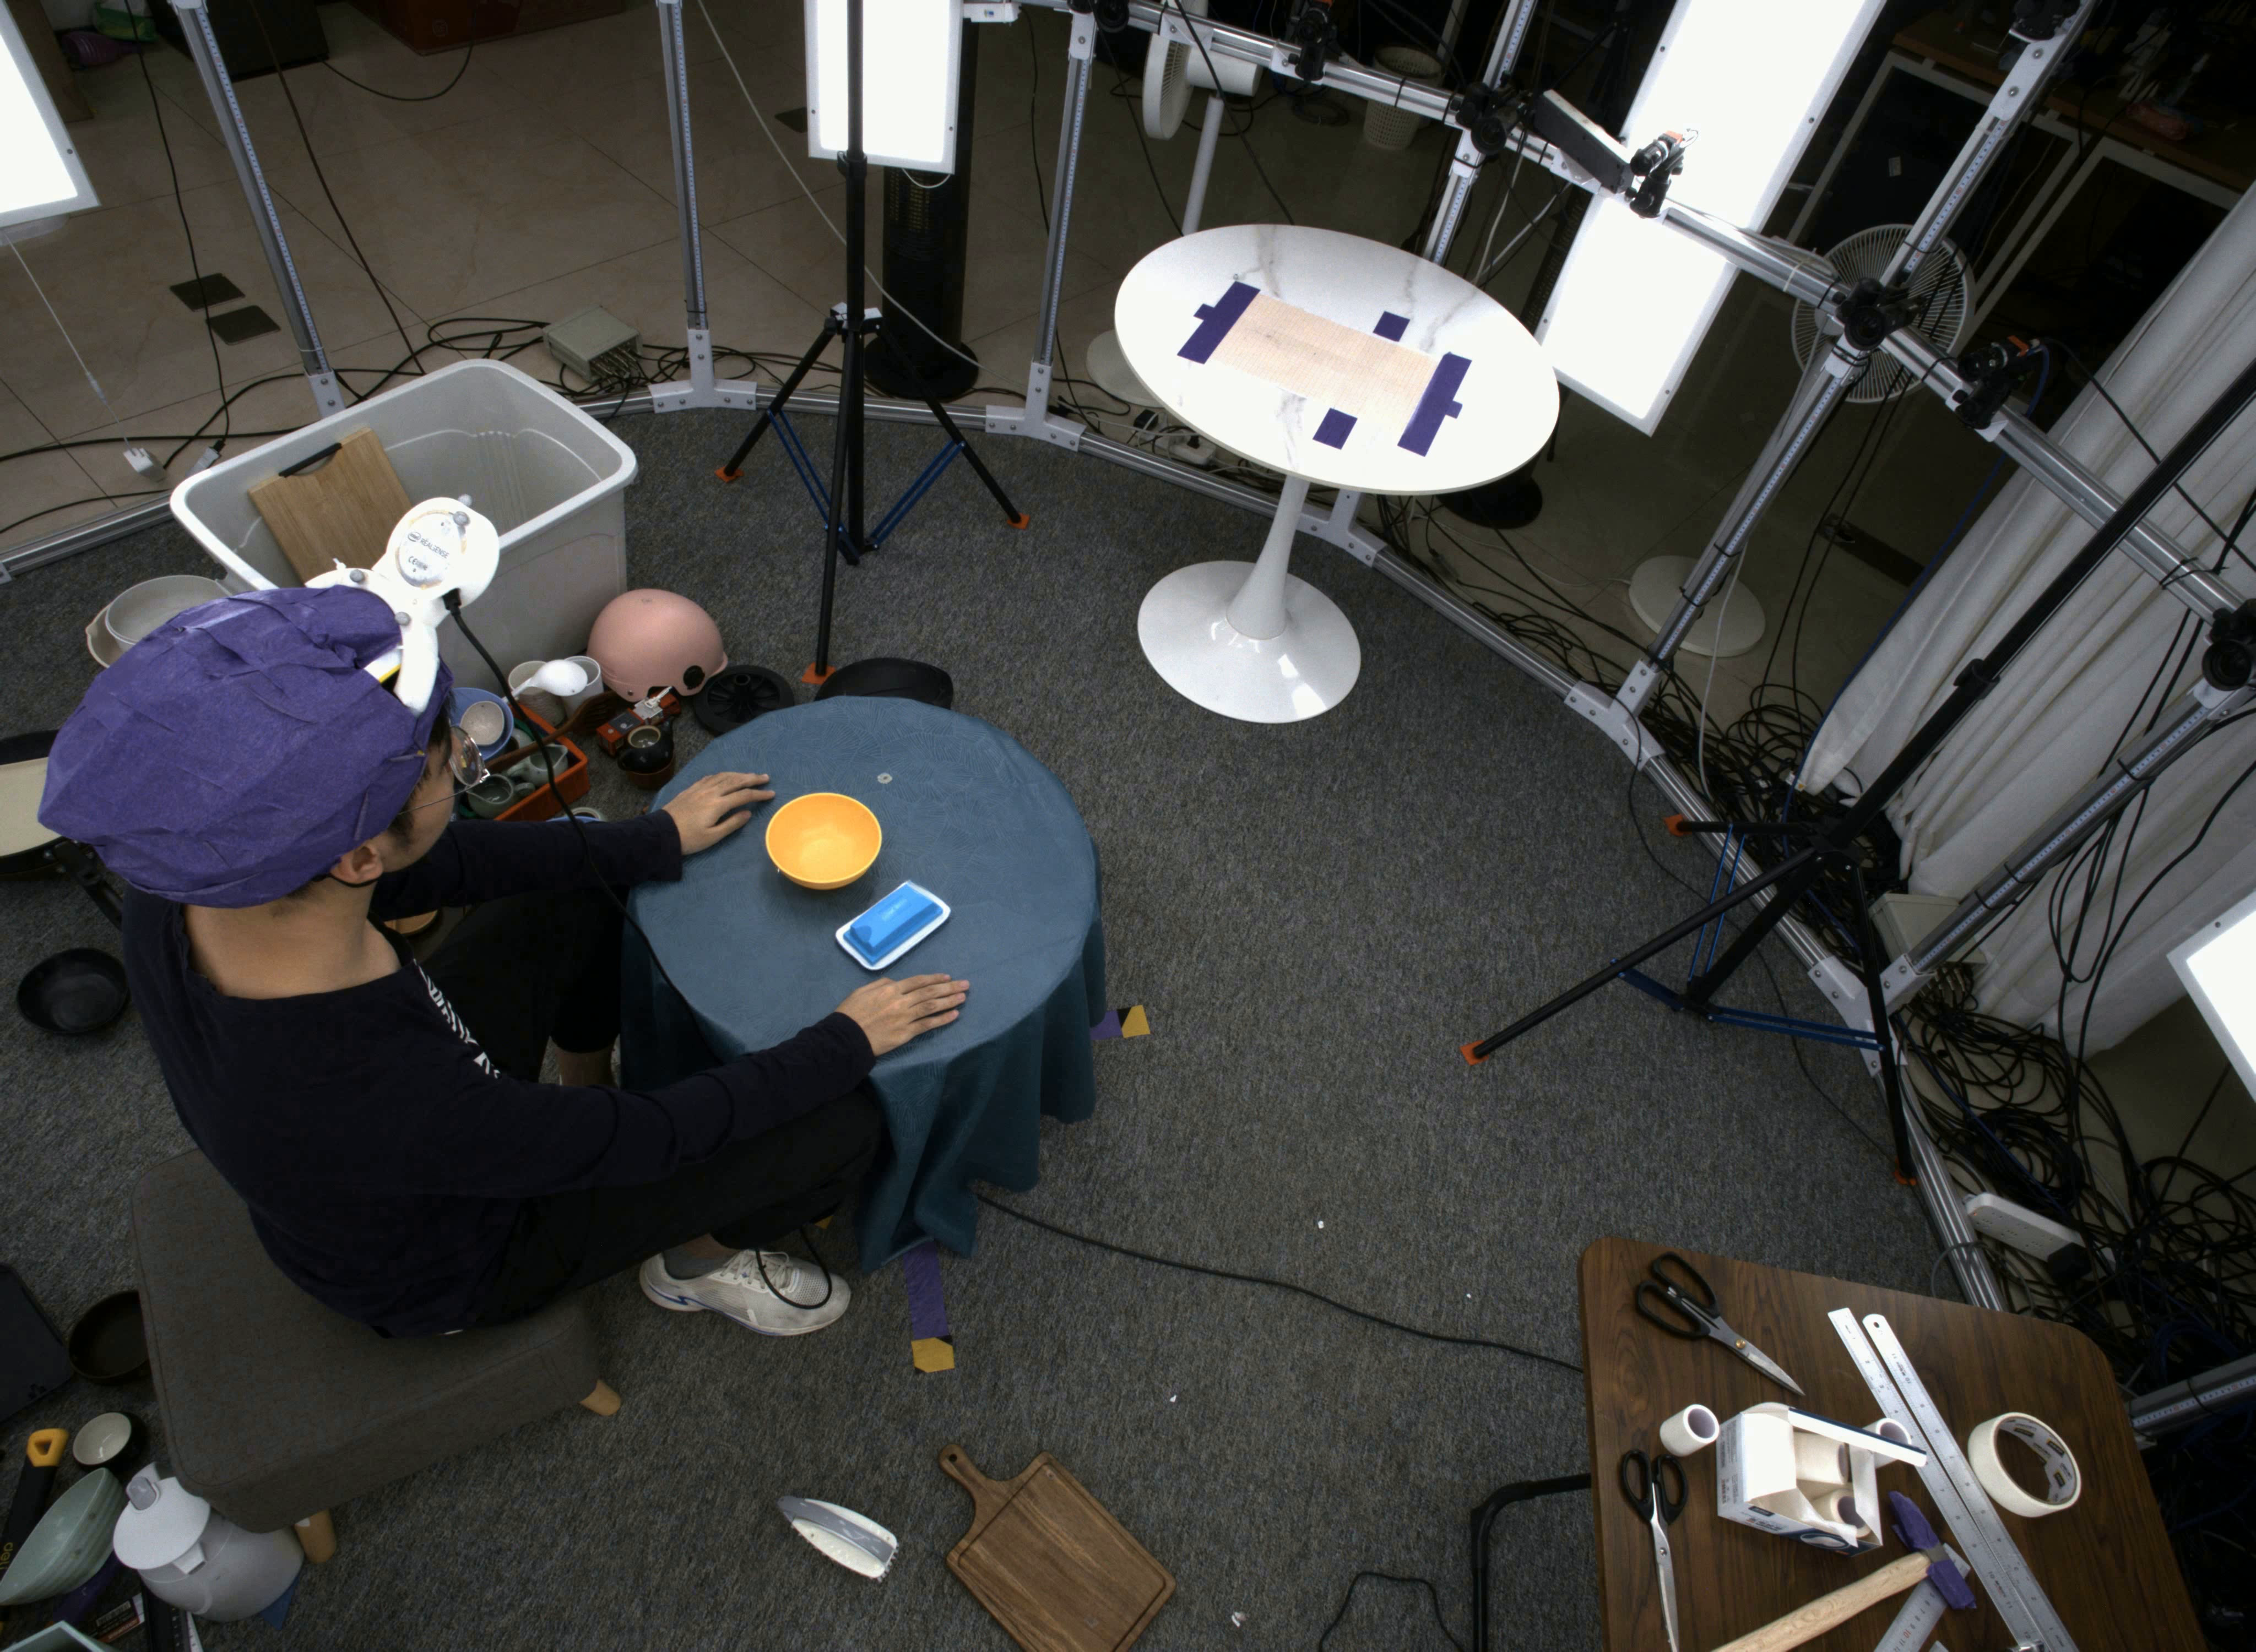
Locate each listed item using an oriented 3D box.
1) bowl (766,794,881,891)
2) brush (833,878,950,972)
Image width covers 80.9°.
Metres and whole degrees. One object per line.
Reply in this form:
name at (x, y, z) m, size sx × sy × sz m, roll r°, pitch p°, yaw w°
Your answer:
bowl at (-0.392, 0.032, 1.673) m, size 0.145 × 0.061 × 0.142 m, roll 8°, pitch 51°, yaw -8°
brush at (-0.296, 0.115, 1.632) m, size 0.081 × 0.057 × 0.144 m, roll 39°, pitch 52°, yaw 21°
